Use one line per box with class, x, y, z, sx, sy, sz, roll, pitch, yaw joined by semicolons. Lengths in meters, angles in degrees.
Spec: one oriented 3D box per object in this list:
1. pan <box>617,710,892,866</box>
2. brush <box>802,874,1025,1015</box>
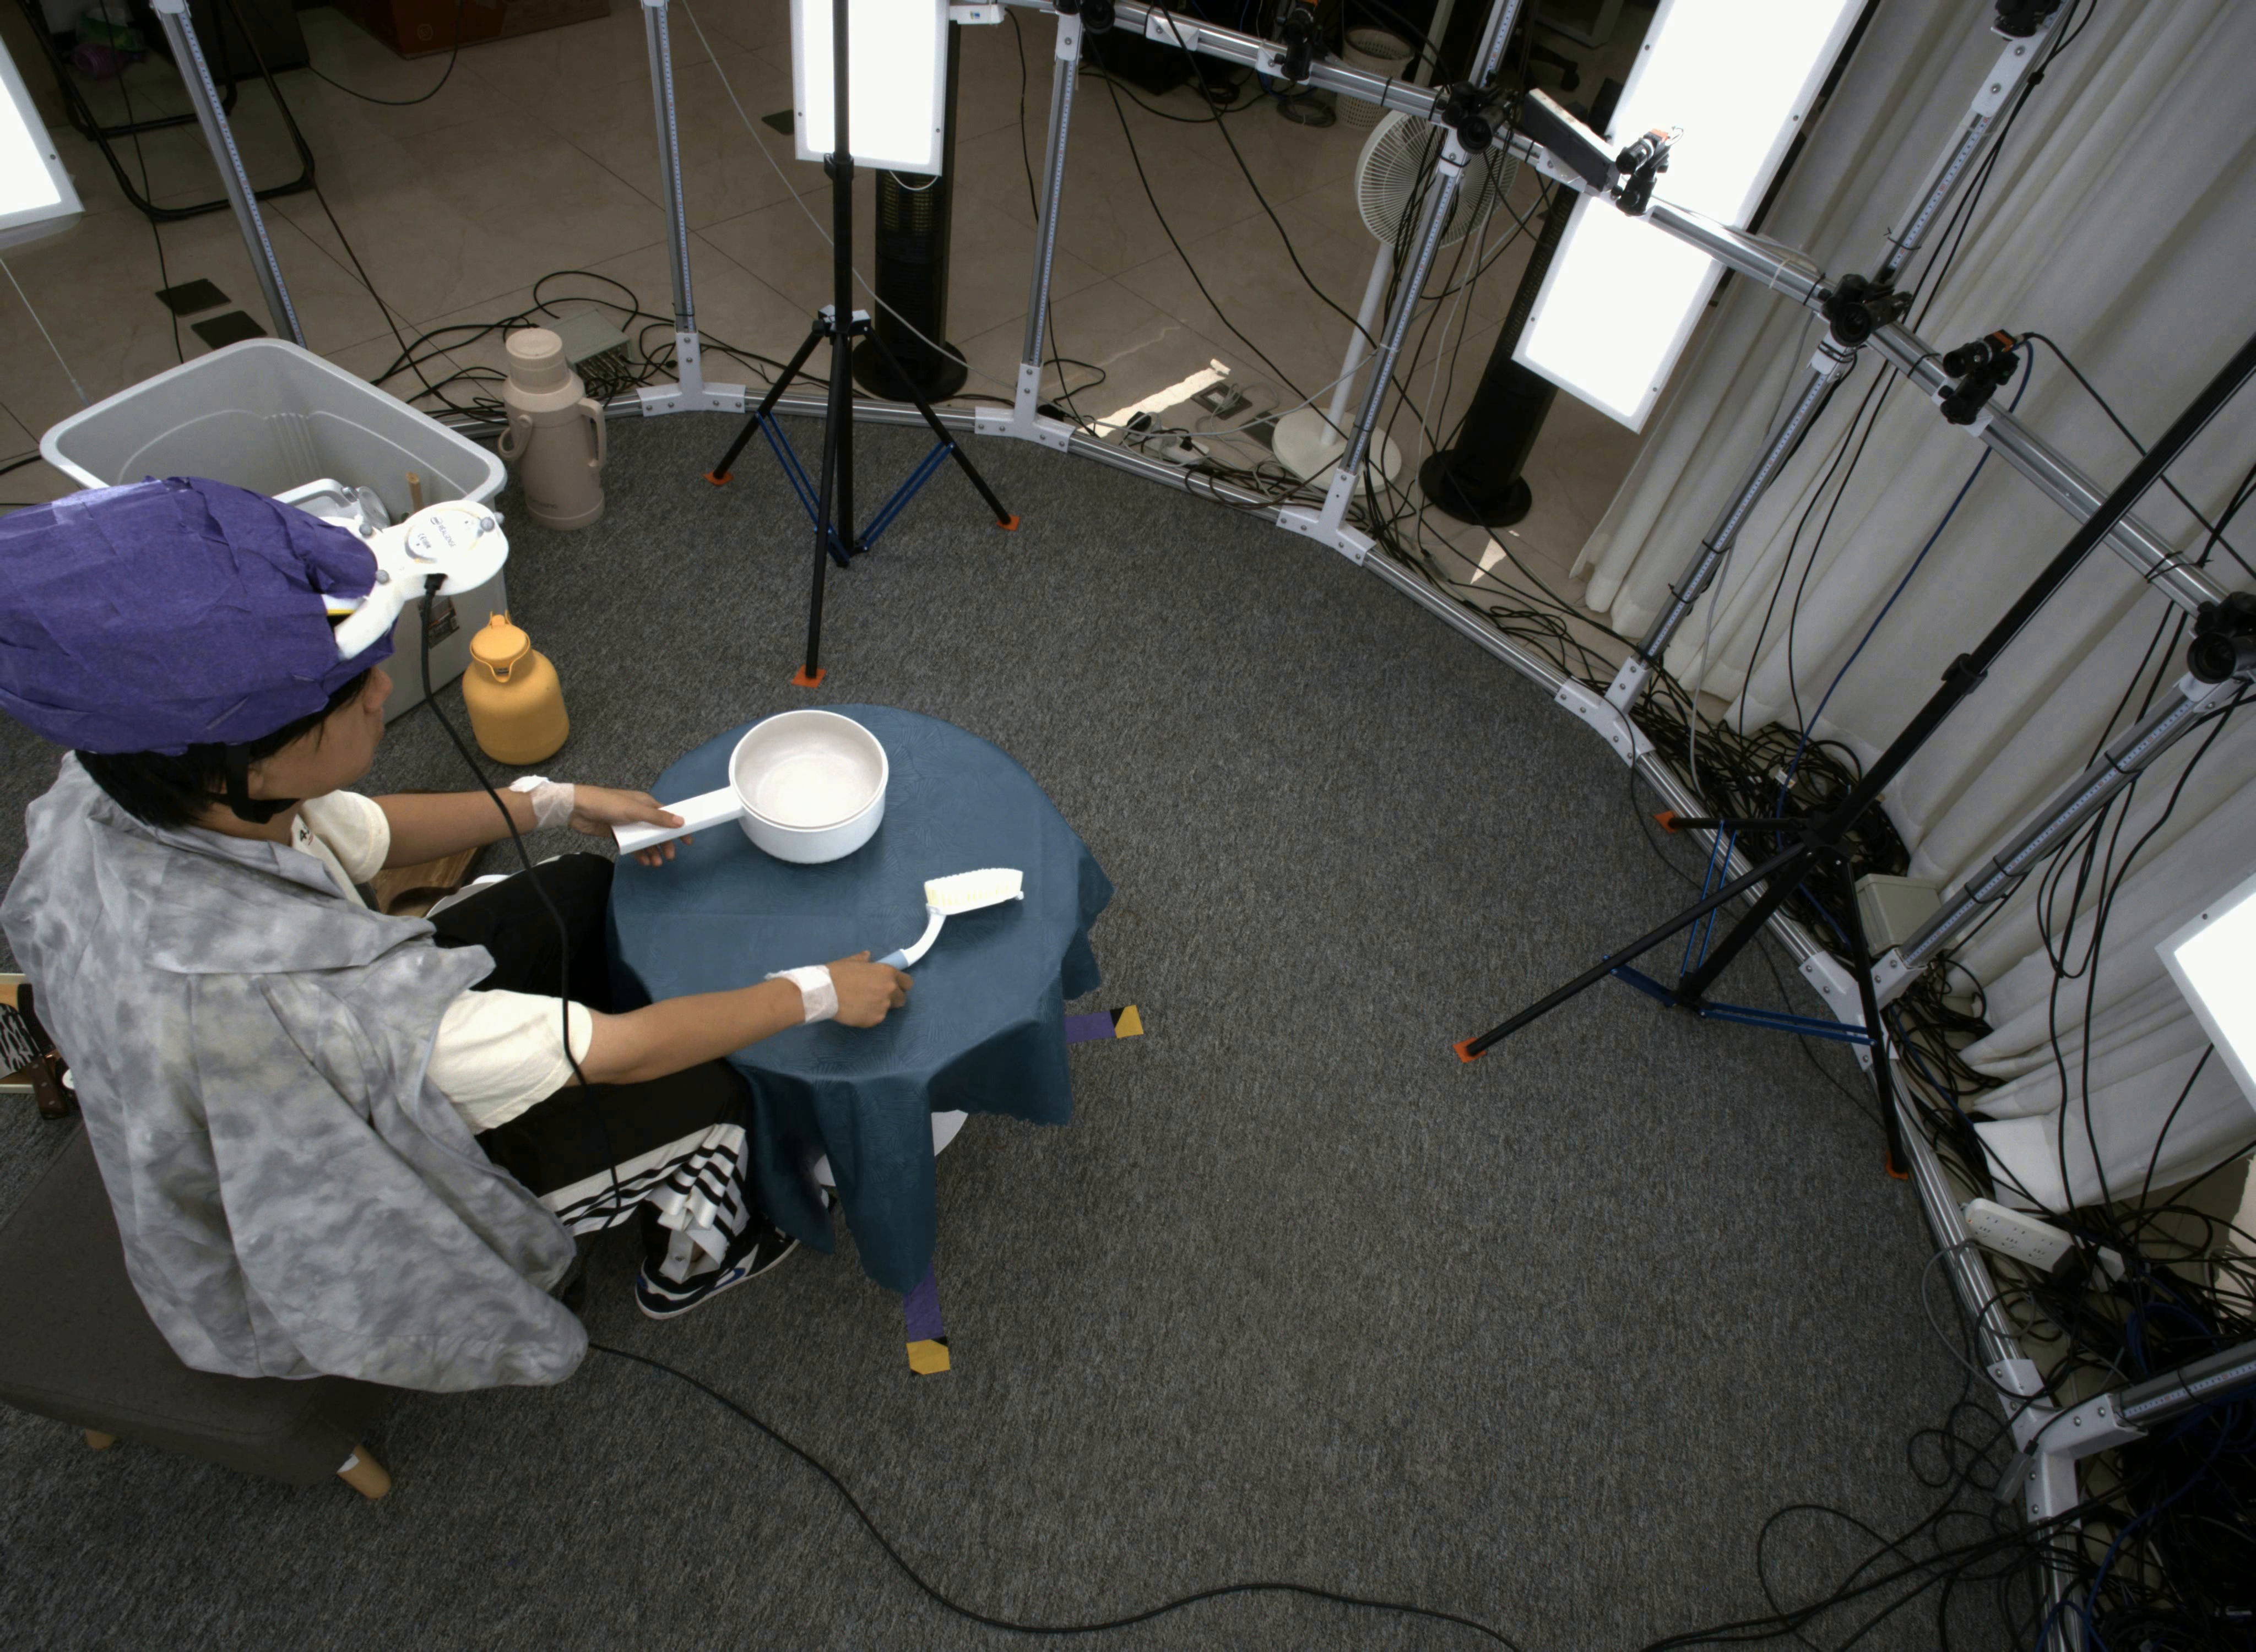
pan;-0.475;-0.021;1.665;0.356;0.104;0.196;-22;61;-26
brush;-0.268;0.123;1.621;0.327;0.084;0.083;-26;68;-30
